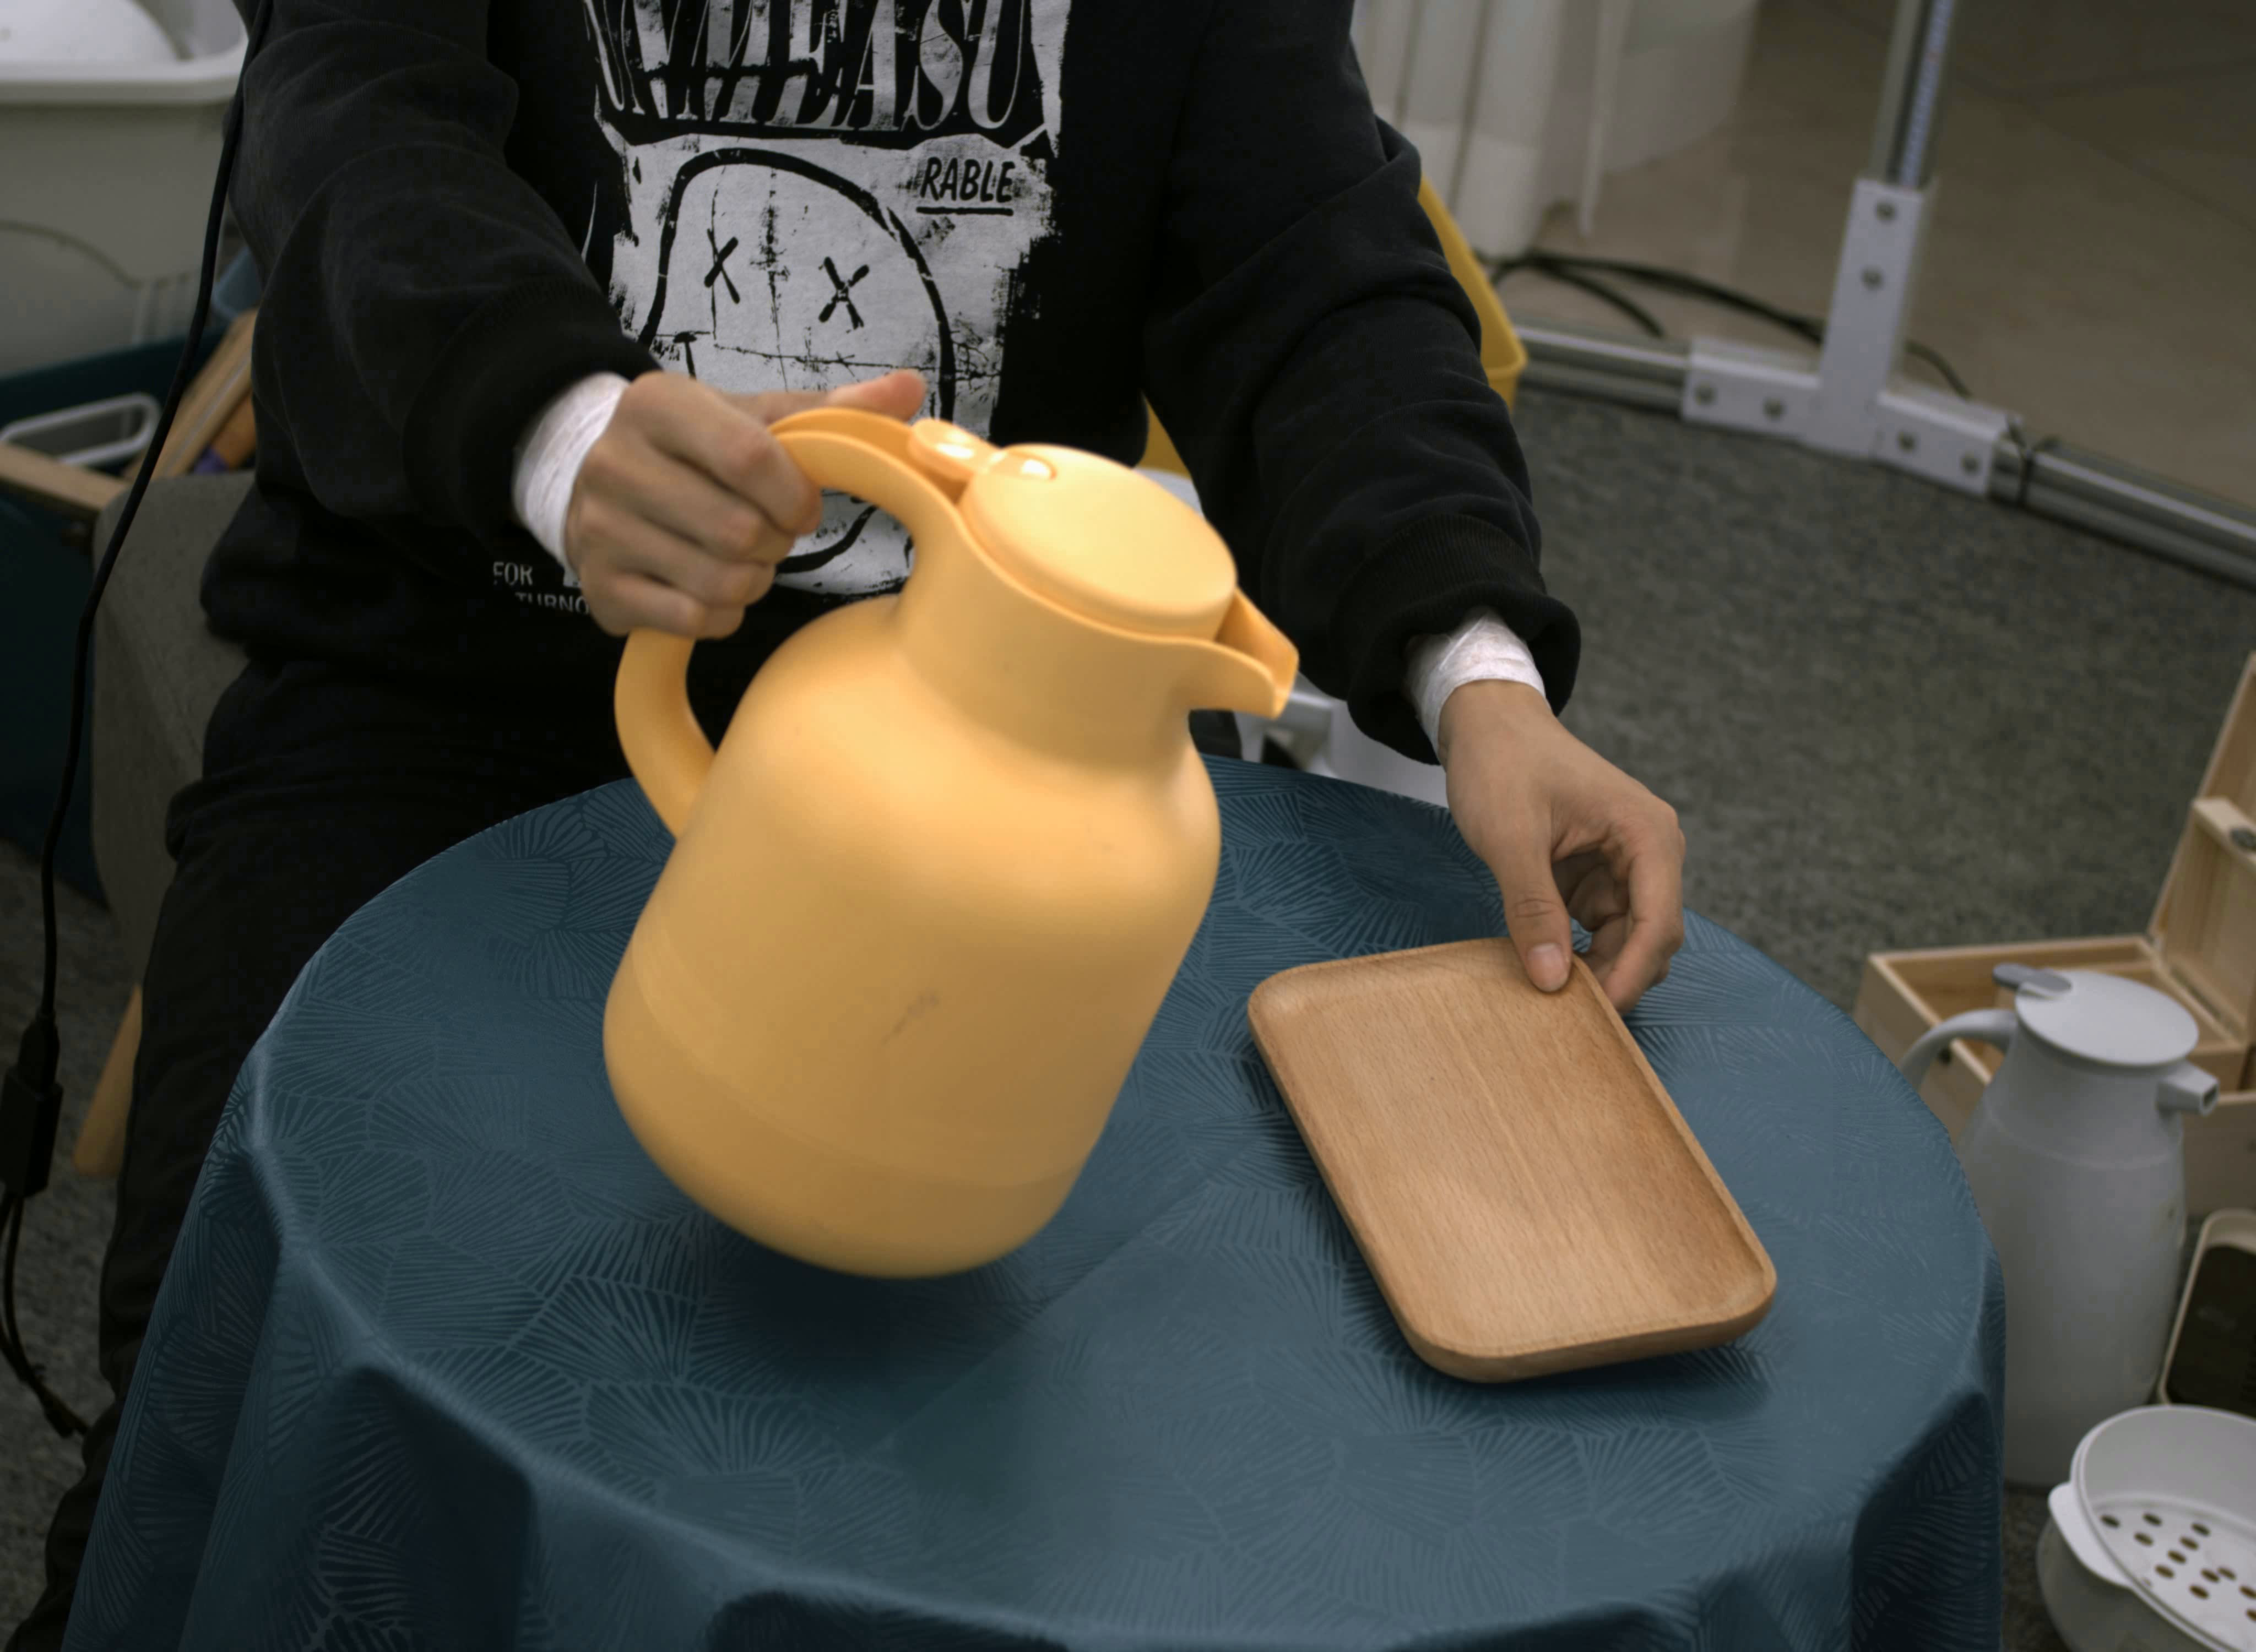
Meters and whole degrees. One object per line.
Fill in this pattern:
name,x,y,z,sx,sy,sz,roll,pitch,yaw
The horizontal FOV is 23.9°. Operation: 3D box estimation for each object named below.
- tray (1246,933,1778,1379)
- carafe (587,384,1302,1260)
tray,0.127,0.110,1.822,0.130,0.023,0.253,-6,29,-12
carafe,-0.072,-0.010,1.677,0.203,0.260,0.163,34,27,9
